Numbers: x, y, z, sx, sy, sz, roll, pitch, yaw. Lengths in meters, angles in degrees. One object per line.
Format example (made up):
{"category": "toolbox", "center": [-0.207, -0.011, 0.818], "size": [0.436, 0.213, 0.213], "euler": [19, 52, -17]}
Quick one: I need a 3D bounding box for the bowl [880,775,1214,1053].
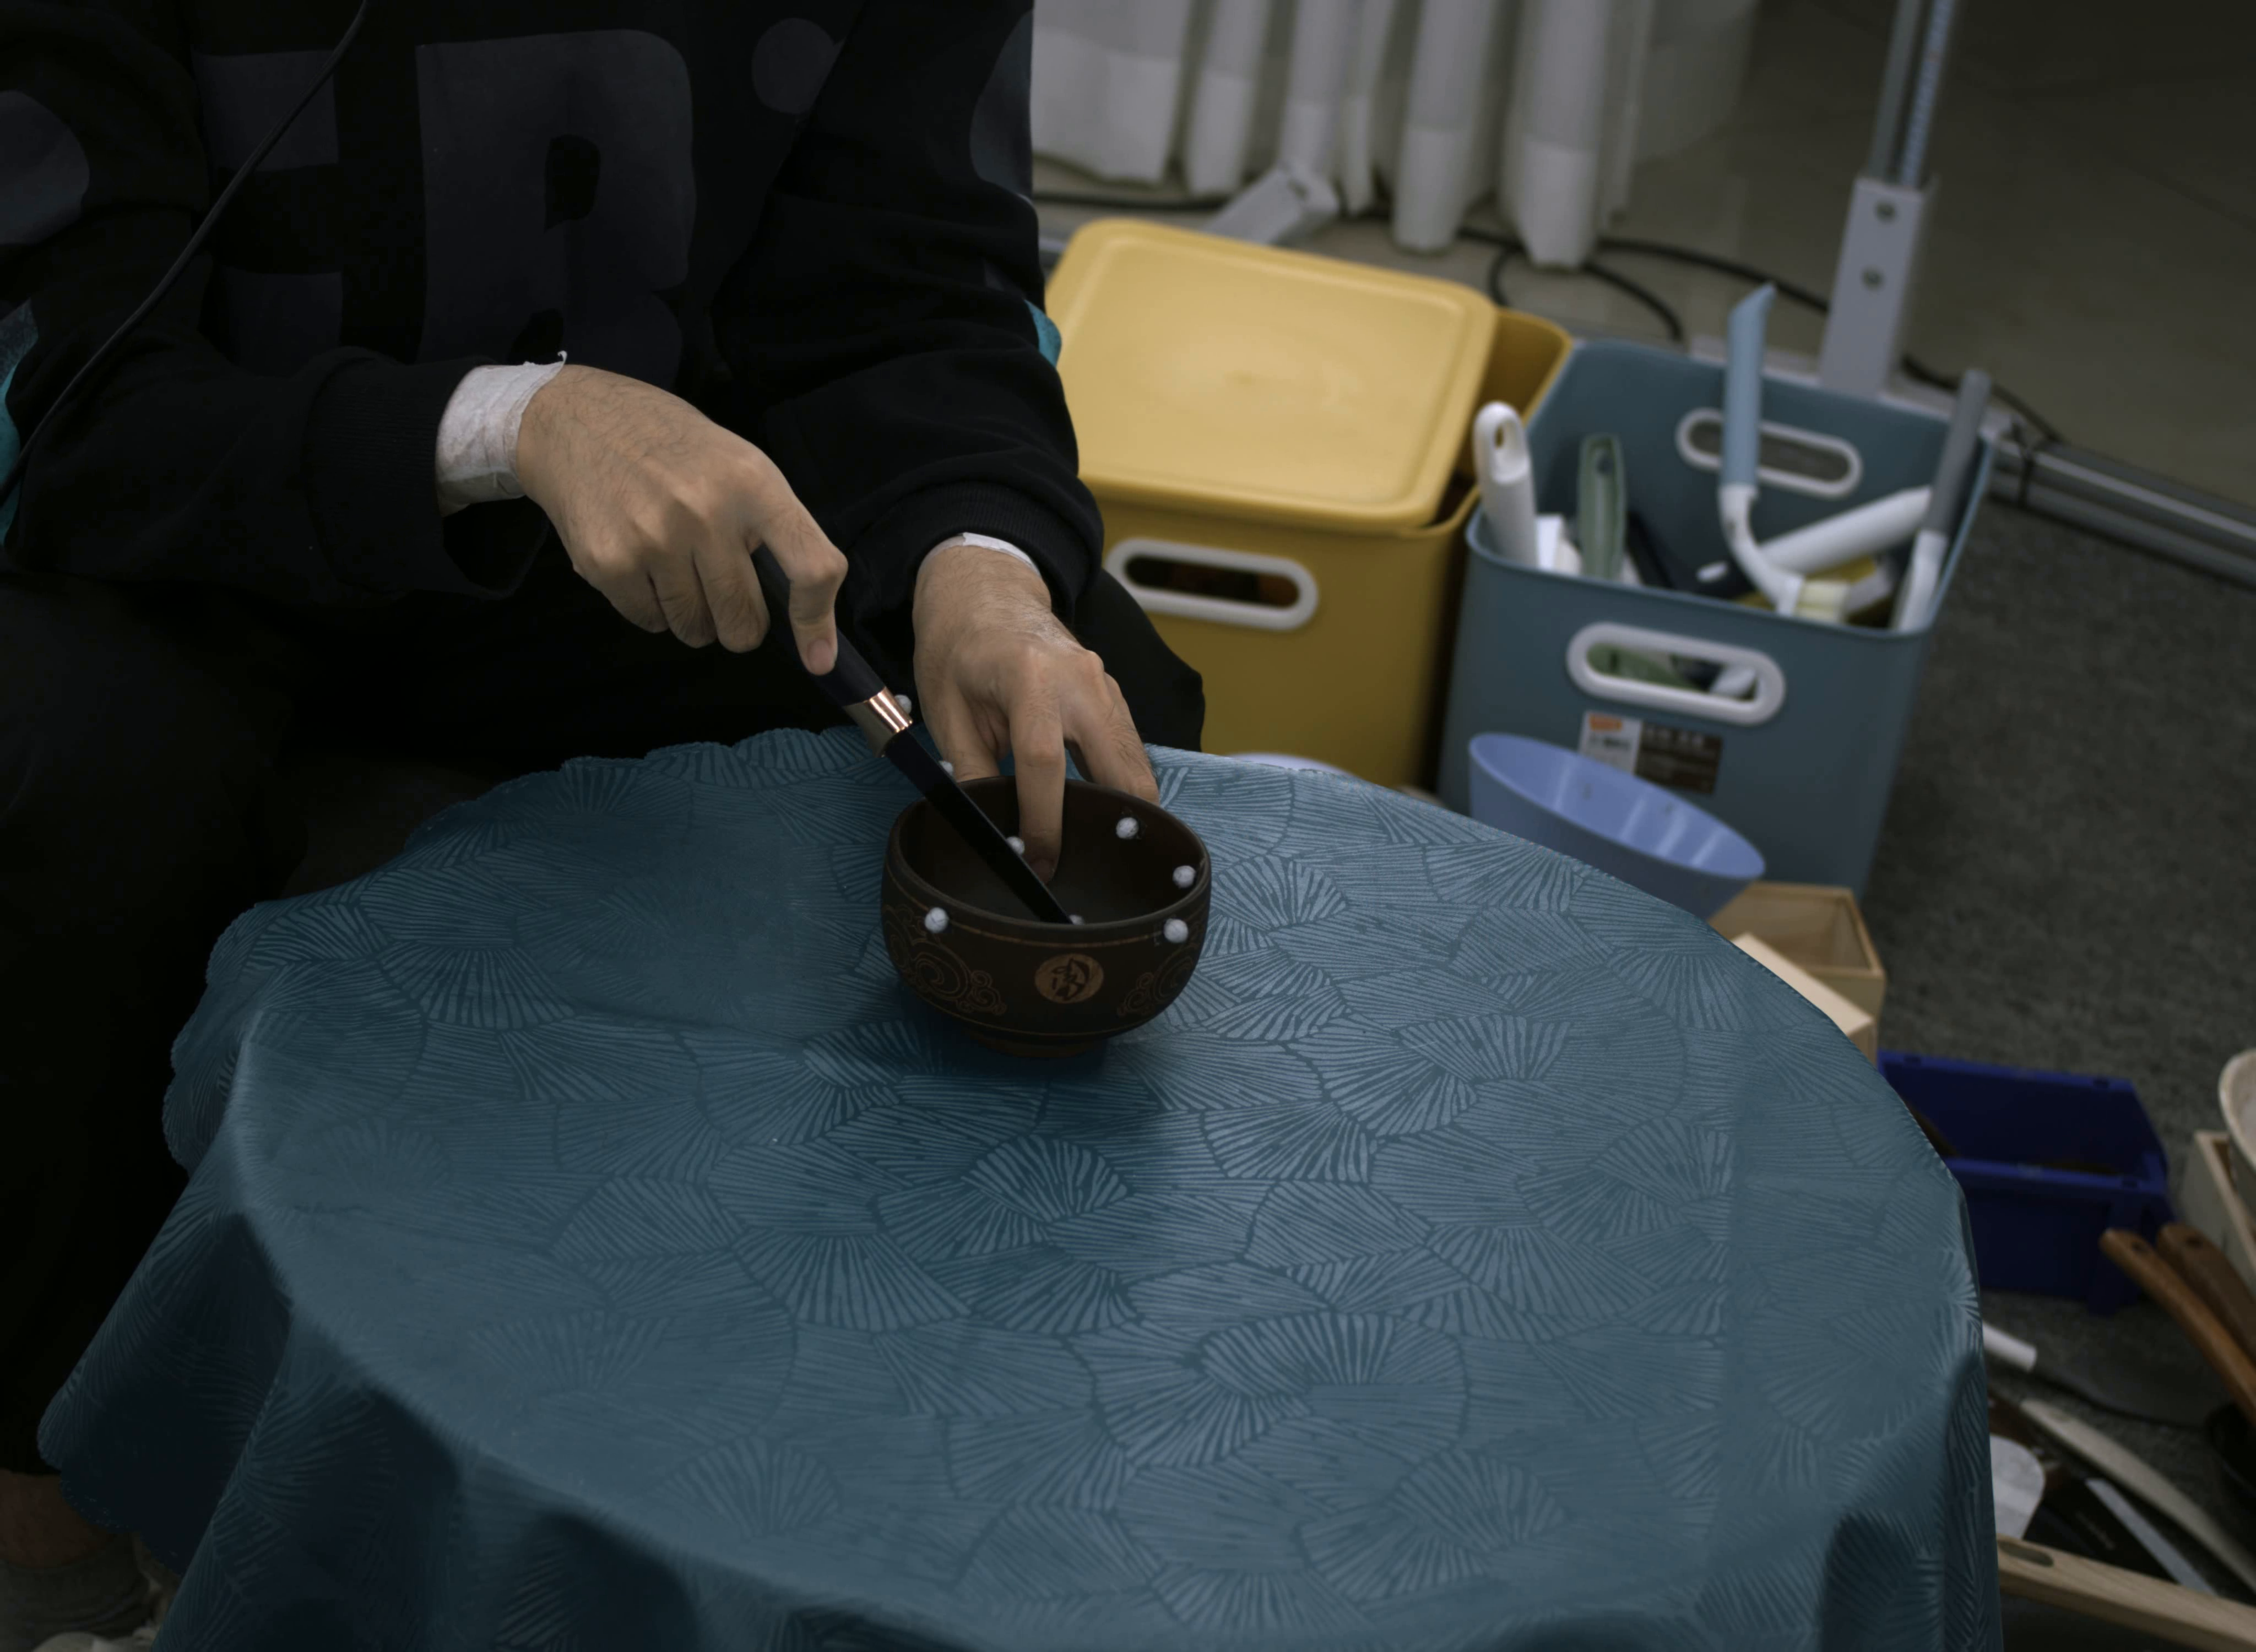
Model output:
{"category": "bowl", "center": [-0.030, 0.037, 1.883], "size": [0.117, 0.069, 0.118], "euler": [6, 25, -3]}

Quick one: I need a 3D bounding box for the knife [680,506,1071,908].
{"category": "knife", "center": [-0.079, -0.030, 1.892], "size": [0.226, 0.017, 0.026], "euler": [47, 12, 4]}
